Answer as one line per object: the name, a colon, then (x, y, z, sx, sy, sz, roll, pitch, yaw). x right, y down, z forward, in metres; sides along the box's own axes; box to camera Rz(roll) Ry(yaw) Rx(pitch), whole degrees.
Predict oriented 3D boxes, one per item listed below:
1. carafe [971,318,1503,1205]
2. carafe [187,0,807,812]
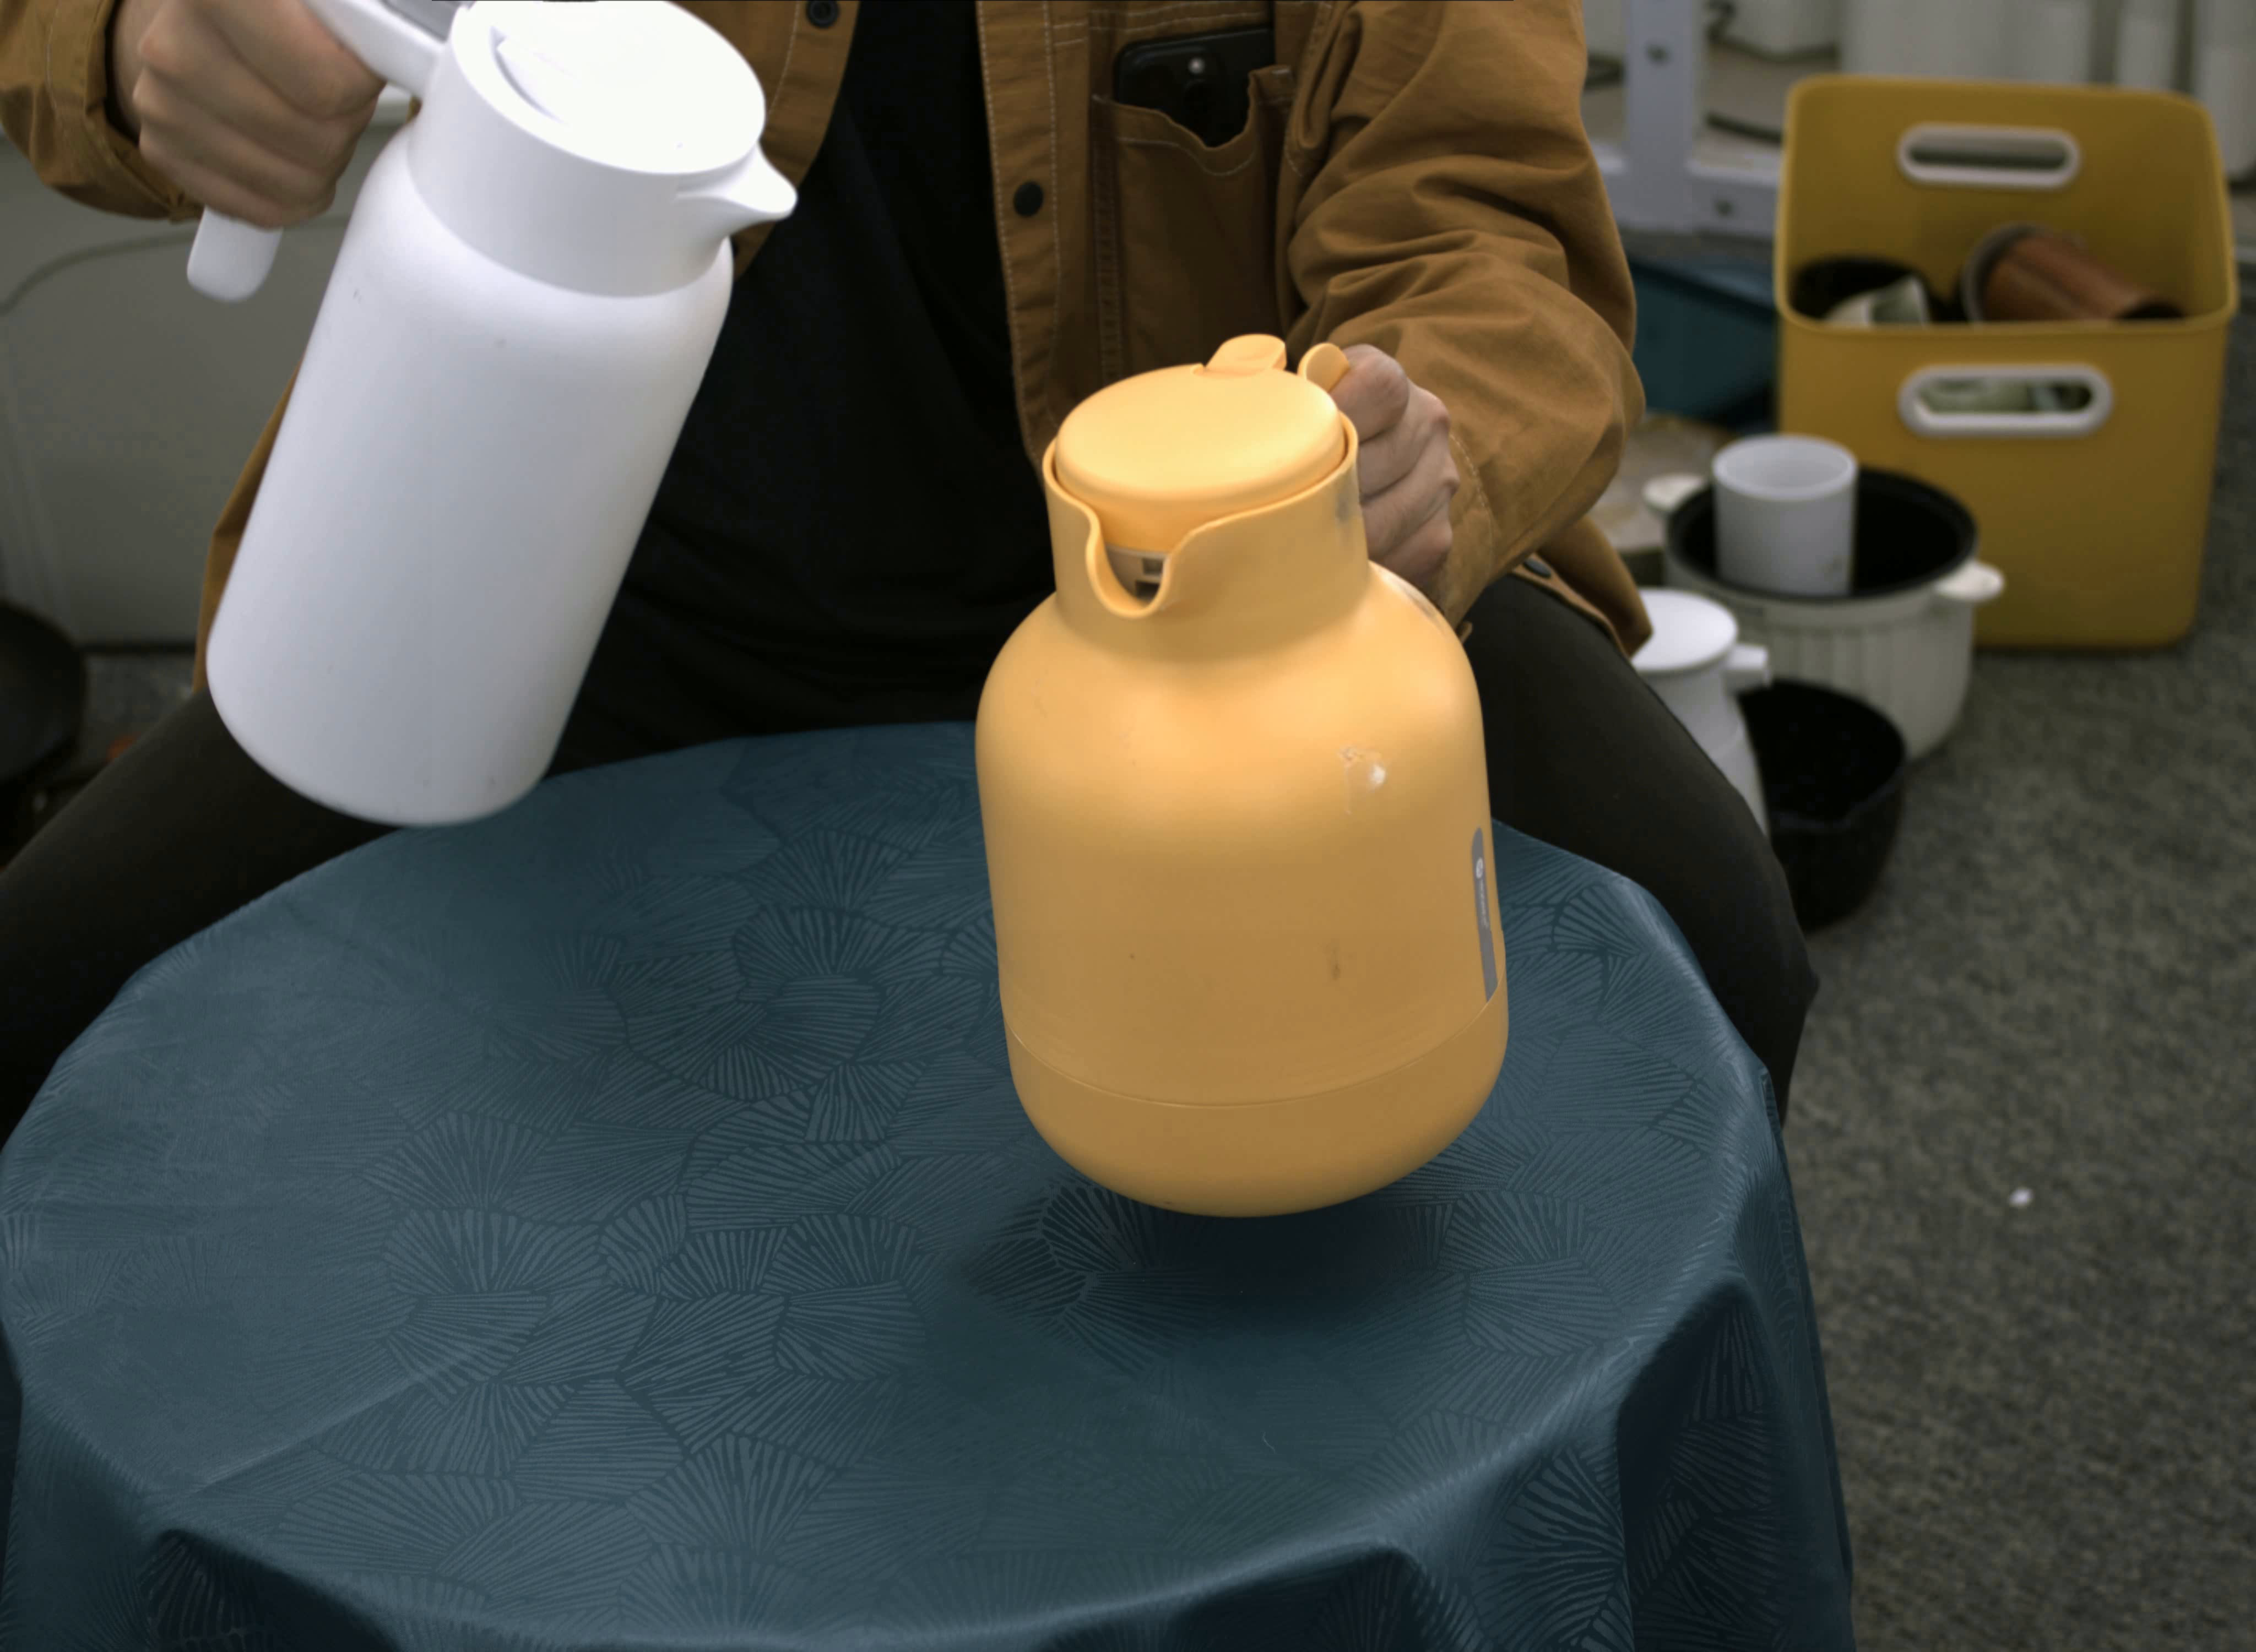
carafe: (0.040, -0.030, 1.787, 0.162, 0.257, 0.206, 8, 33, 20)
carafe: (-0.215, -0.144, 1.755, 0.172, 0.264, 0.126, 31, 37, 6)
